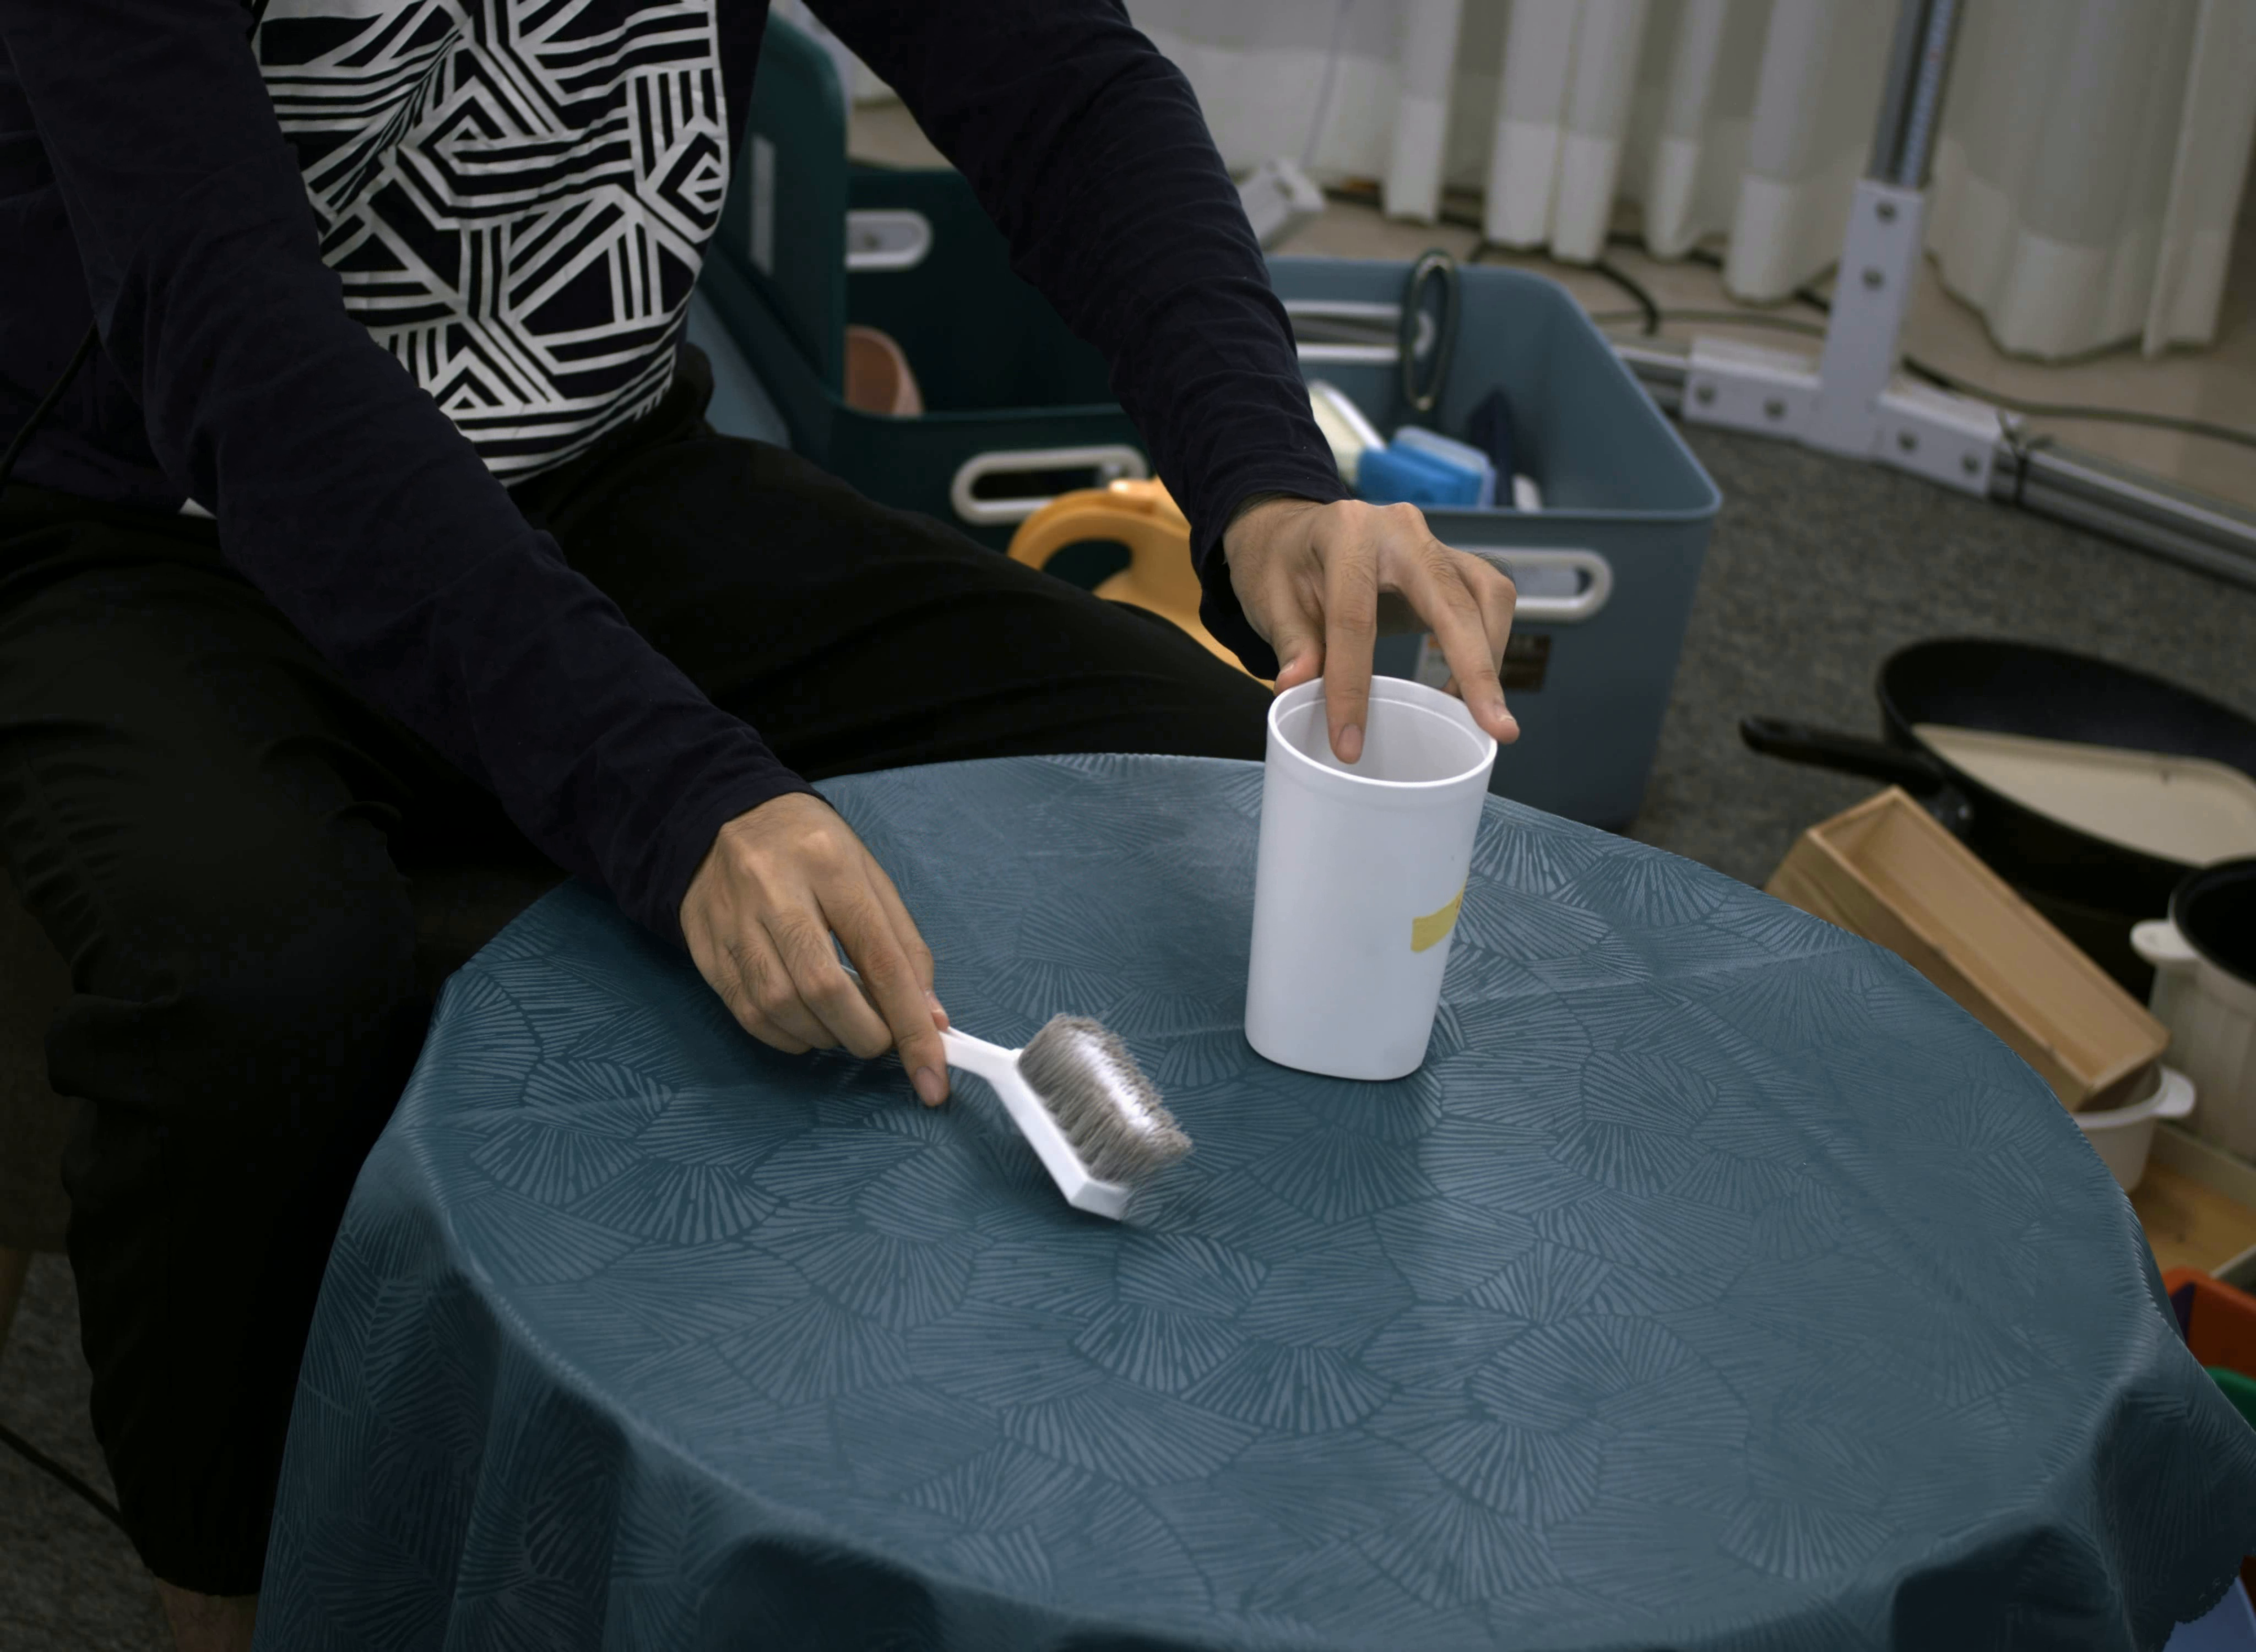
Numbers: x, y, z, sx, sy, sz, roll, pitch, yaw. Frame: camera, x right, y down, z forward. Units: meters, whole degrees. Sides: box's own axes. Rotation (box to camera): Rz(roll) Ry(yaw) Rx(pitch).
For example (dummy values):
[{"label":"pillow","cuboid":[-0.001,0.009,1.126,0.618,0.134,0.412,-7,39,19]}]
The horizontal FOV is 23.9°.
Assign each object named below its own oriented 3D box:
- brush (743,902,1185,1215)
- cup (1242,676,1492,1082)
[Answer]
[{"label":"brush","cuboid":[-0.061,0.063,1.858,0.034,0.050,0.246,9,18,-40]},{"label":"cup","cuboid":[0.081,0.020,1.889,0.081,0.125,0.082,5,27,-3]}]
